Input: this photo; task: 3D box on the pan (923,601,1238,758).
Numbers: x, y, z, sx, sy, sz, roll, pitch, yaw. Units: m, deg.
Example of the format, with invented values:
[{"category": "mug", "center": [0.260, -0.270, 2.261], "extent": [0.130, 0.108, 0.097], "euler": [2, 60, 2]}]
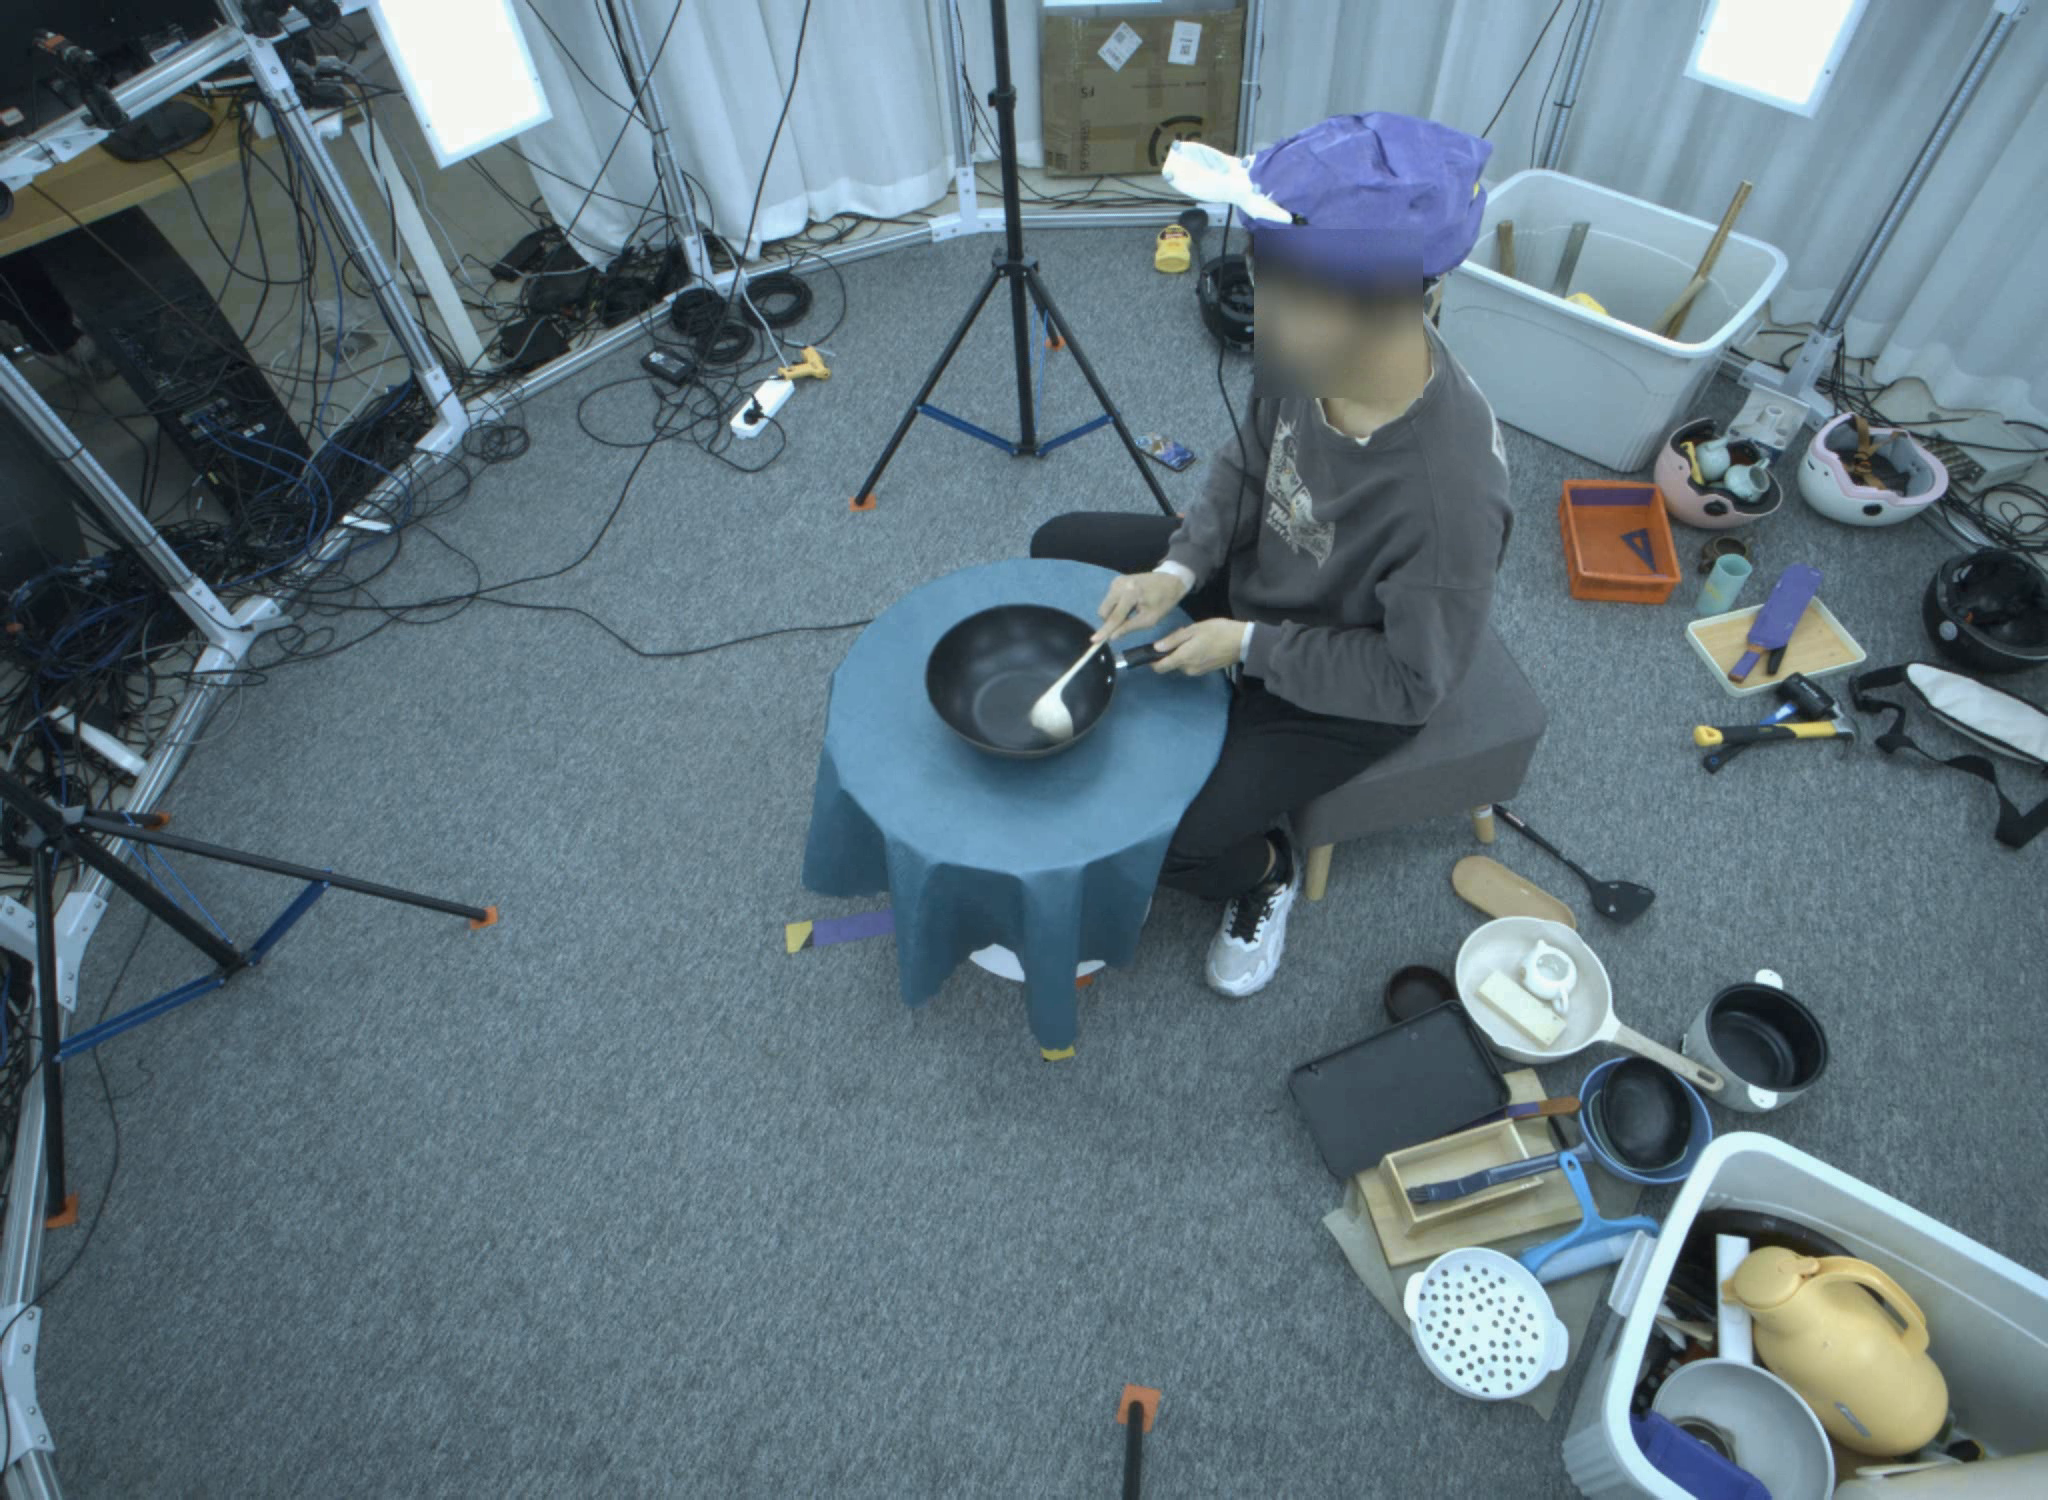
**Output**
[{"category": "pan", "center": [0.084, -0.105, 1.808], "extent": [0.466, 0.087, 0.283], "euler": [-10, 54, -9]}]

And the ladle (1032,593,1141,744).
[{"category": "ladle", "center": [0.106, -0.115, 1.783], "extent": [0.255, 0.074, 0.070], "euler": [-49, 35, -17]}]
